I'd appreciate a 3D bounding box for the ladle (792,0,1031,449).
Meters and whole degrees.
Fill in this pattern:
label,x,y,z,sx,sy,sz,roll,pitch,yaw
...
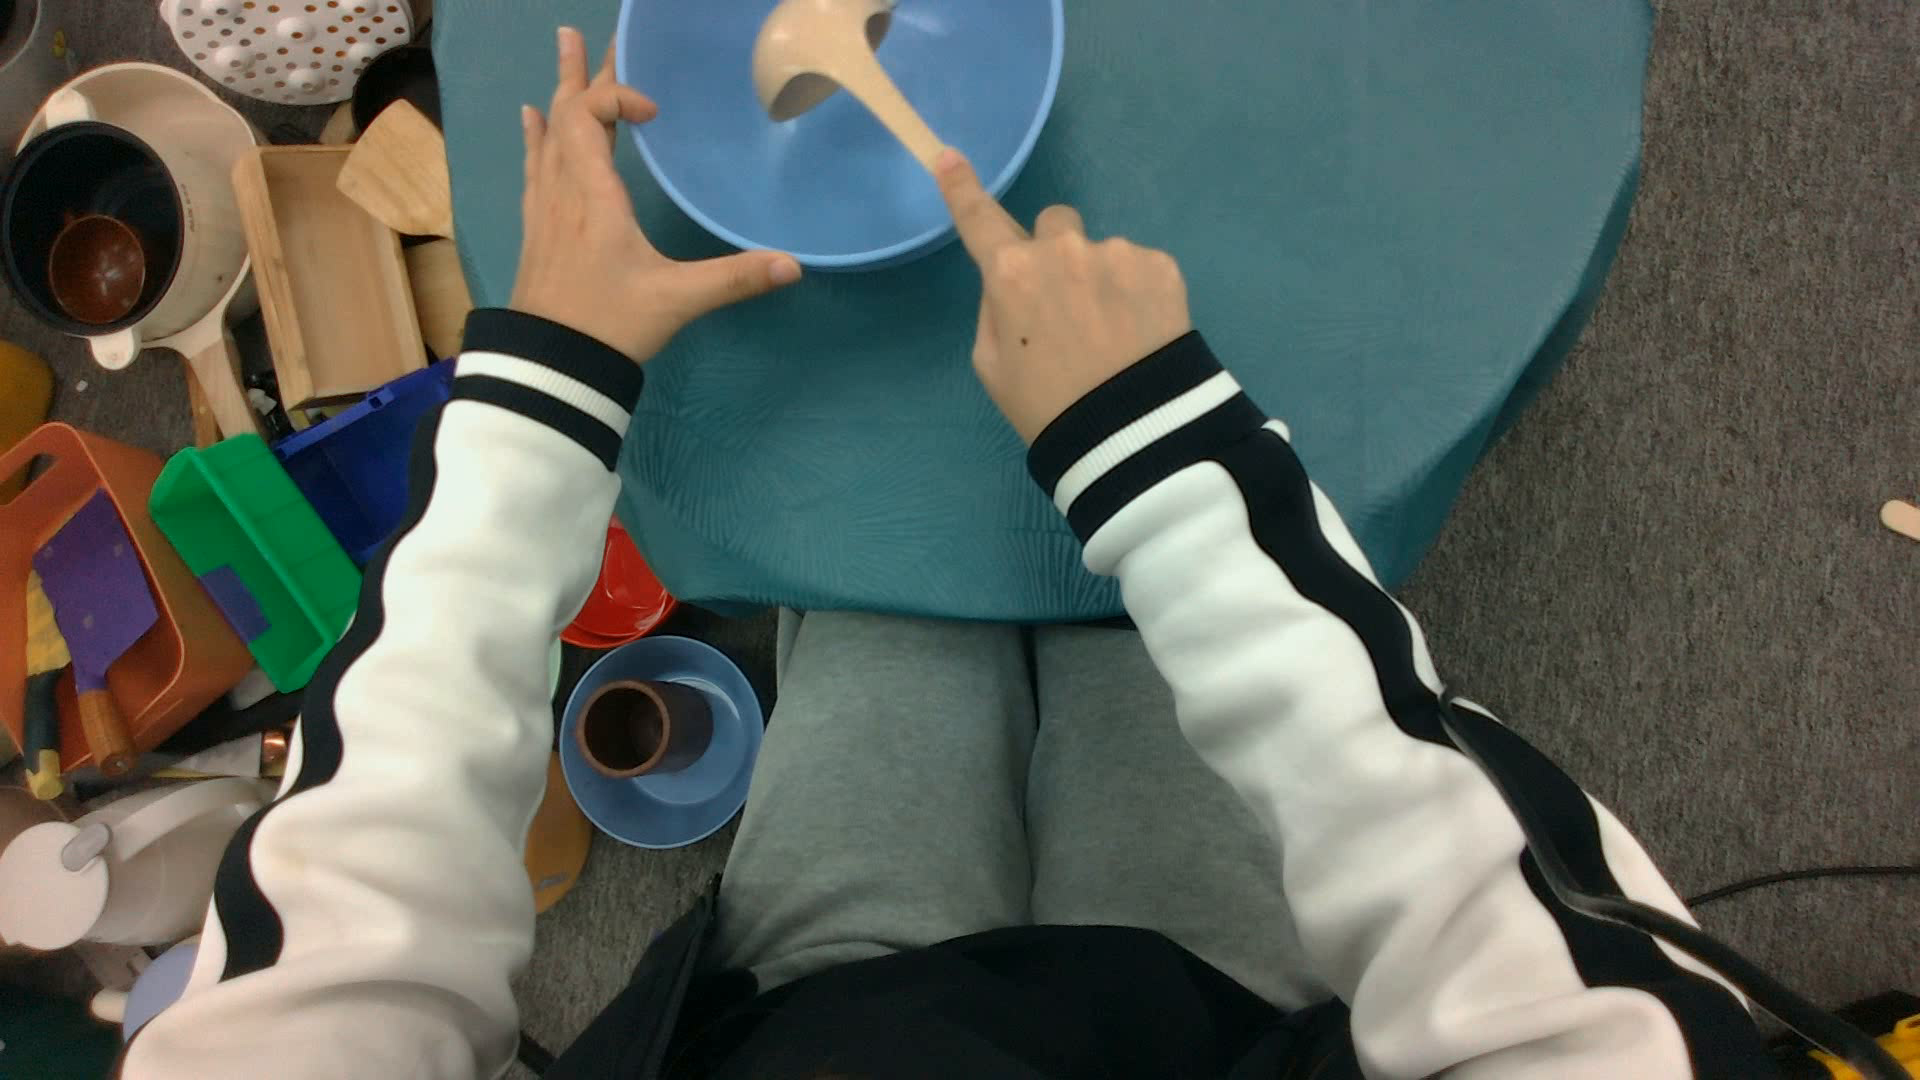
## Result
label,x,y,z,sx,sy,sz,roll,pitch,yaw
ladle,-0.001,-0.148,0.590,0.073,0.072,0.255,-9,64,-39

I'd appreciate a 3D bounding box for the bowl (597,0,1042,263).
label,x,y,z,sx,sy,sz,roll,pitch,yaw
bowl,-0.057,-0.212,0.642,0.196,0.095,0.197,-1,81,6
